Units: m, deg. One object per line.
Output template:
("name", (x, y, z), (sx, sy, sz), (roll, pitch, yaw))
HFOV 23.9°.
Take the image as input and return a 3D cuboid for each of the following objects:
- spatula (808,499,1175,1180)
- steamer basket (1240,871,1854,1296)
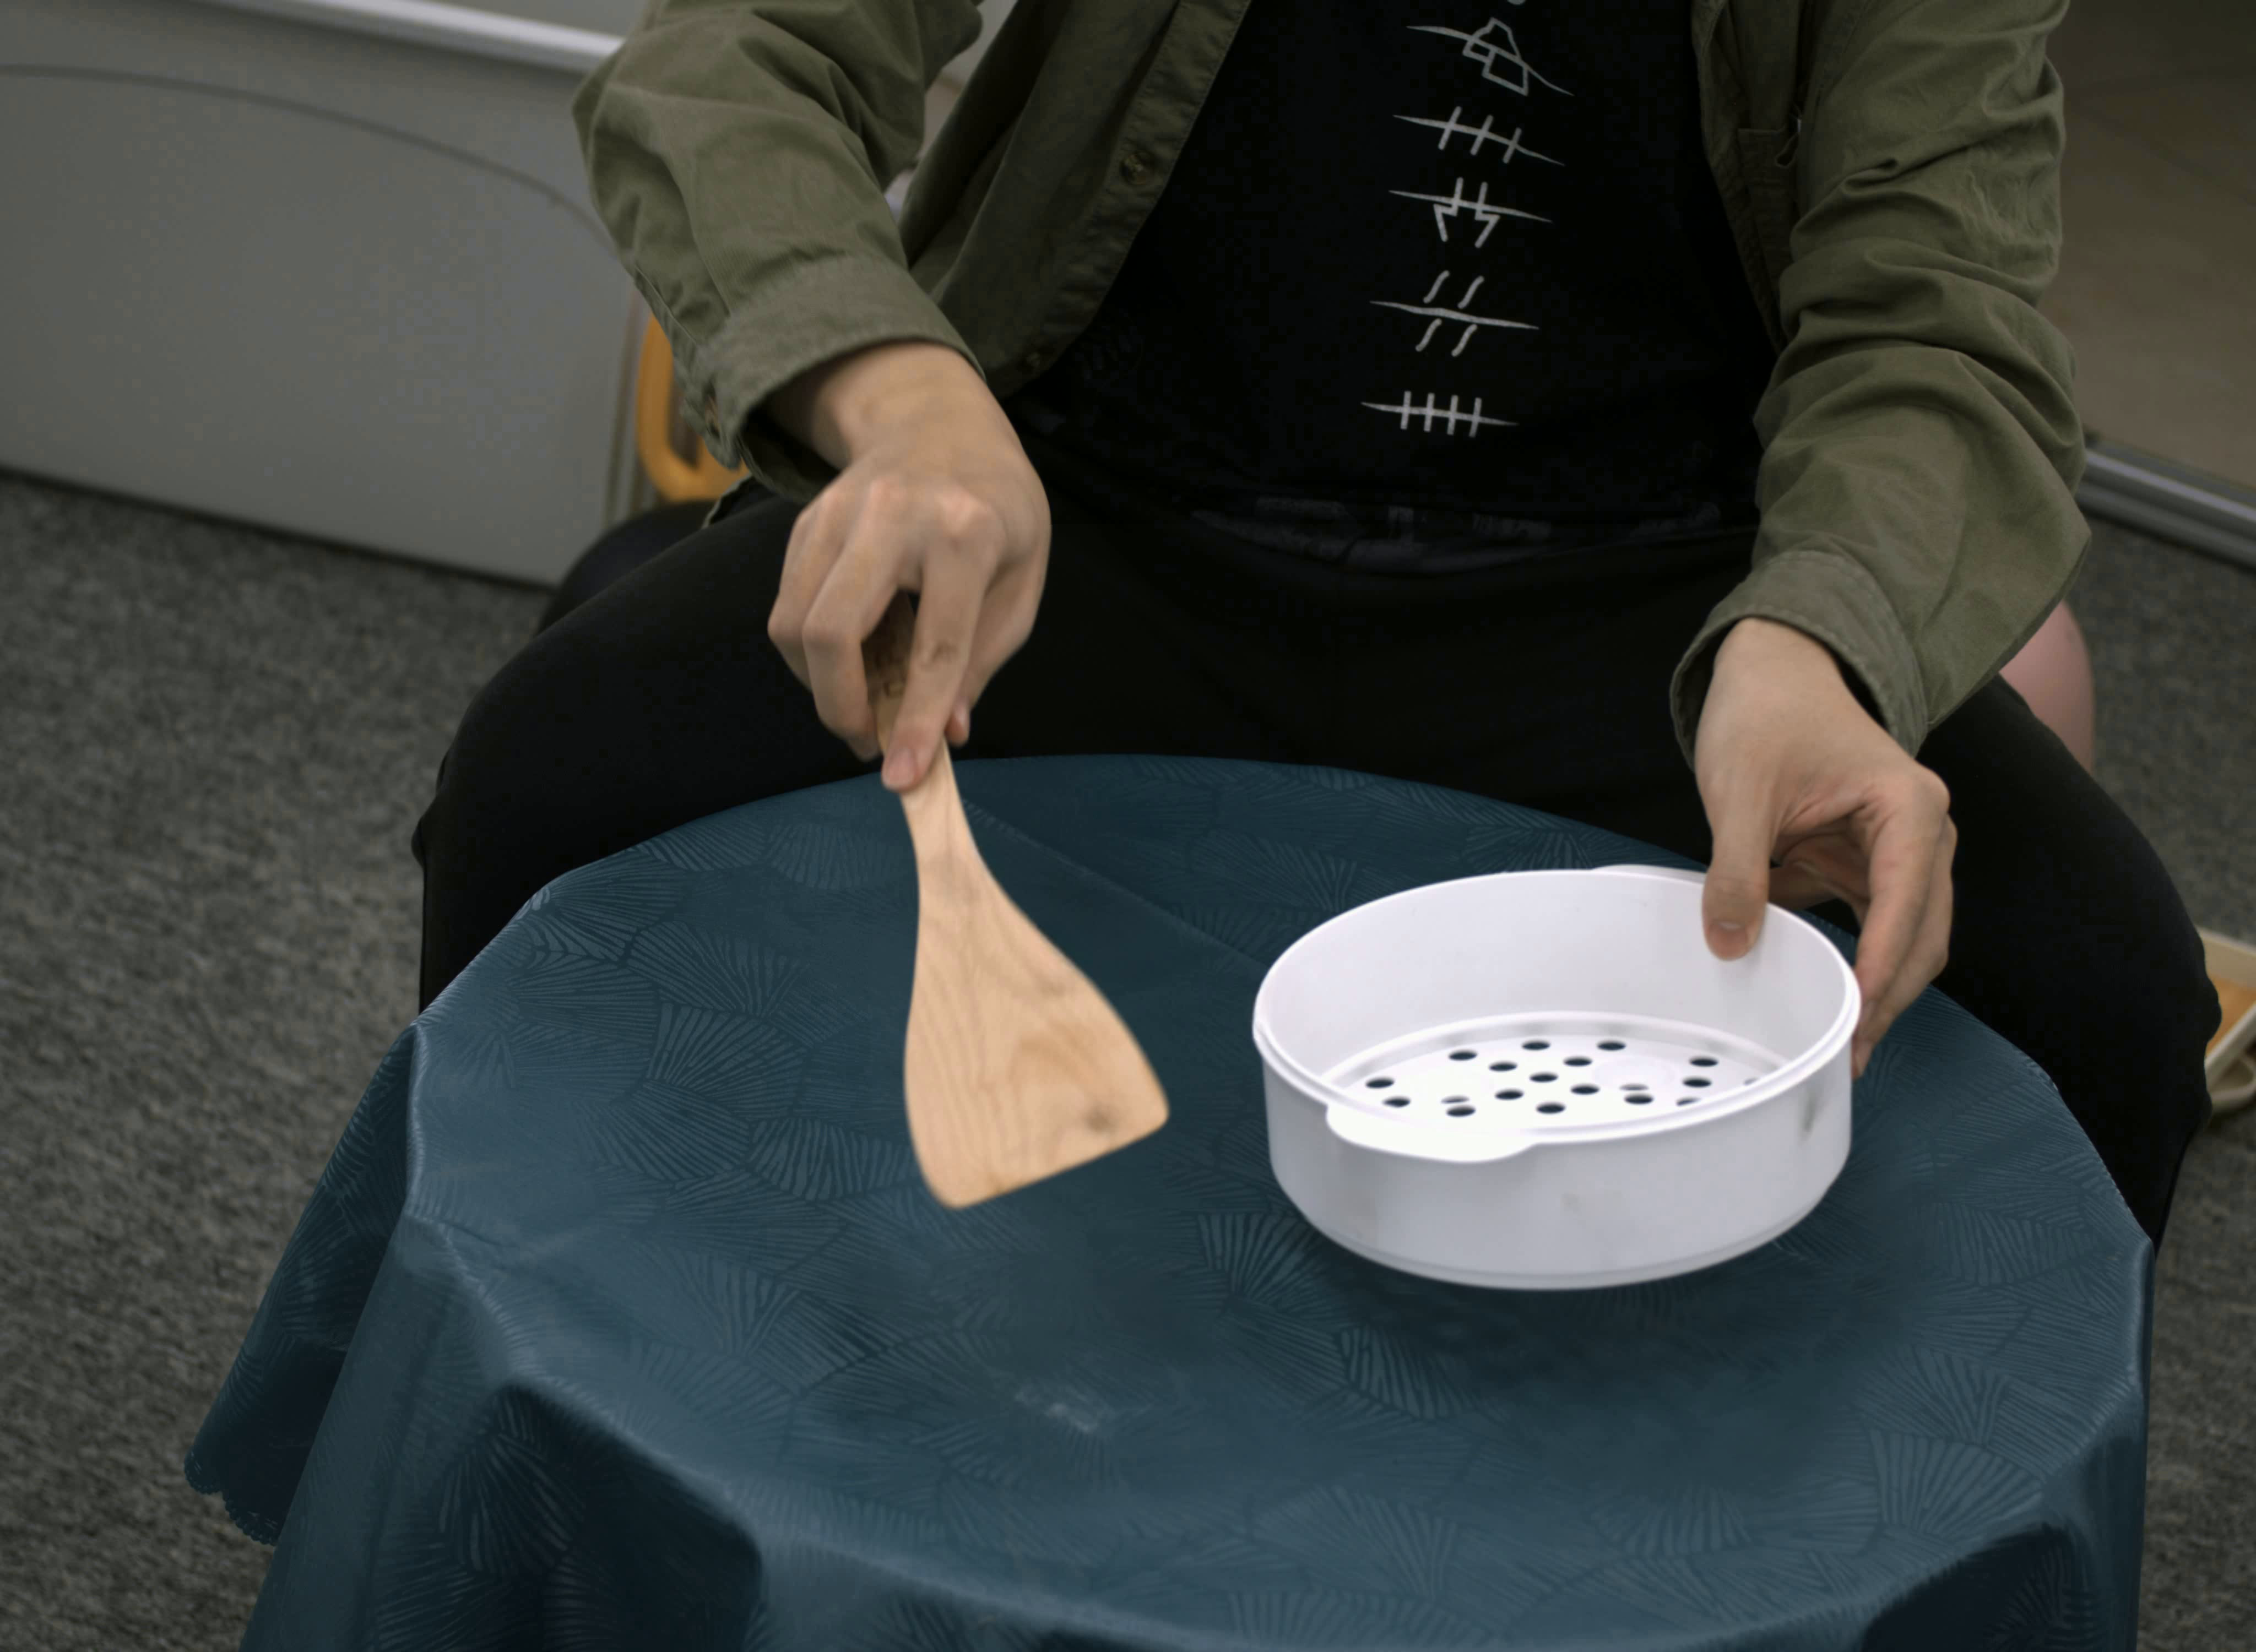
("spatula", (-0.060, -0.006, 1.754), (0.079, 0.016, 0.331), (-15, 46, -6))
("steamer basket", (0.138, 0.086, 1.759), (0.203, 0.069, 0.230), (10, 26, 27))
